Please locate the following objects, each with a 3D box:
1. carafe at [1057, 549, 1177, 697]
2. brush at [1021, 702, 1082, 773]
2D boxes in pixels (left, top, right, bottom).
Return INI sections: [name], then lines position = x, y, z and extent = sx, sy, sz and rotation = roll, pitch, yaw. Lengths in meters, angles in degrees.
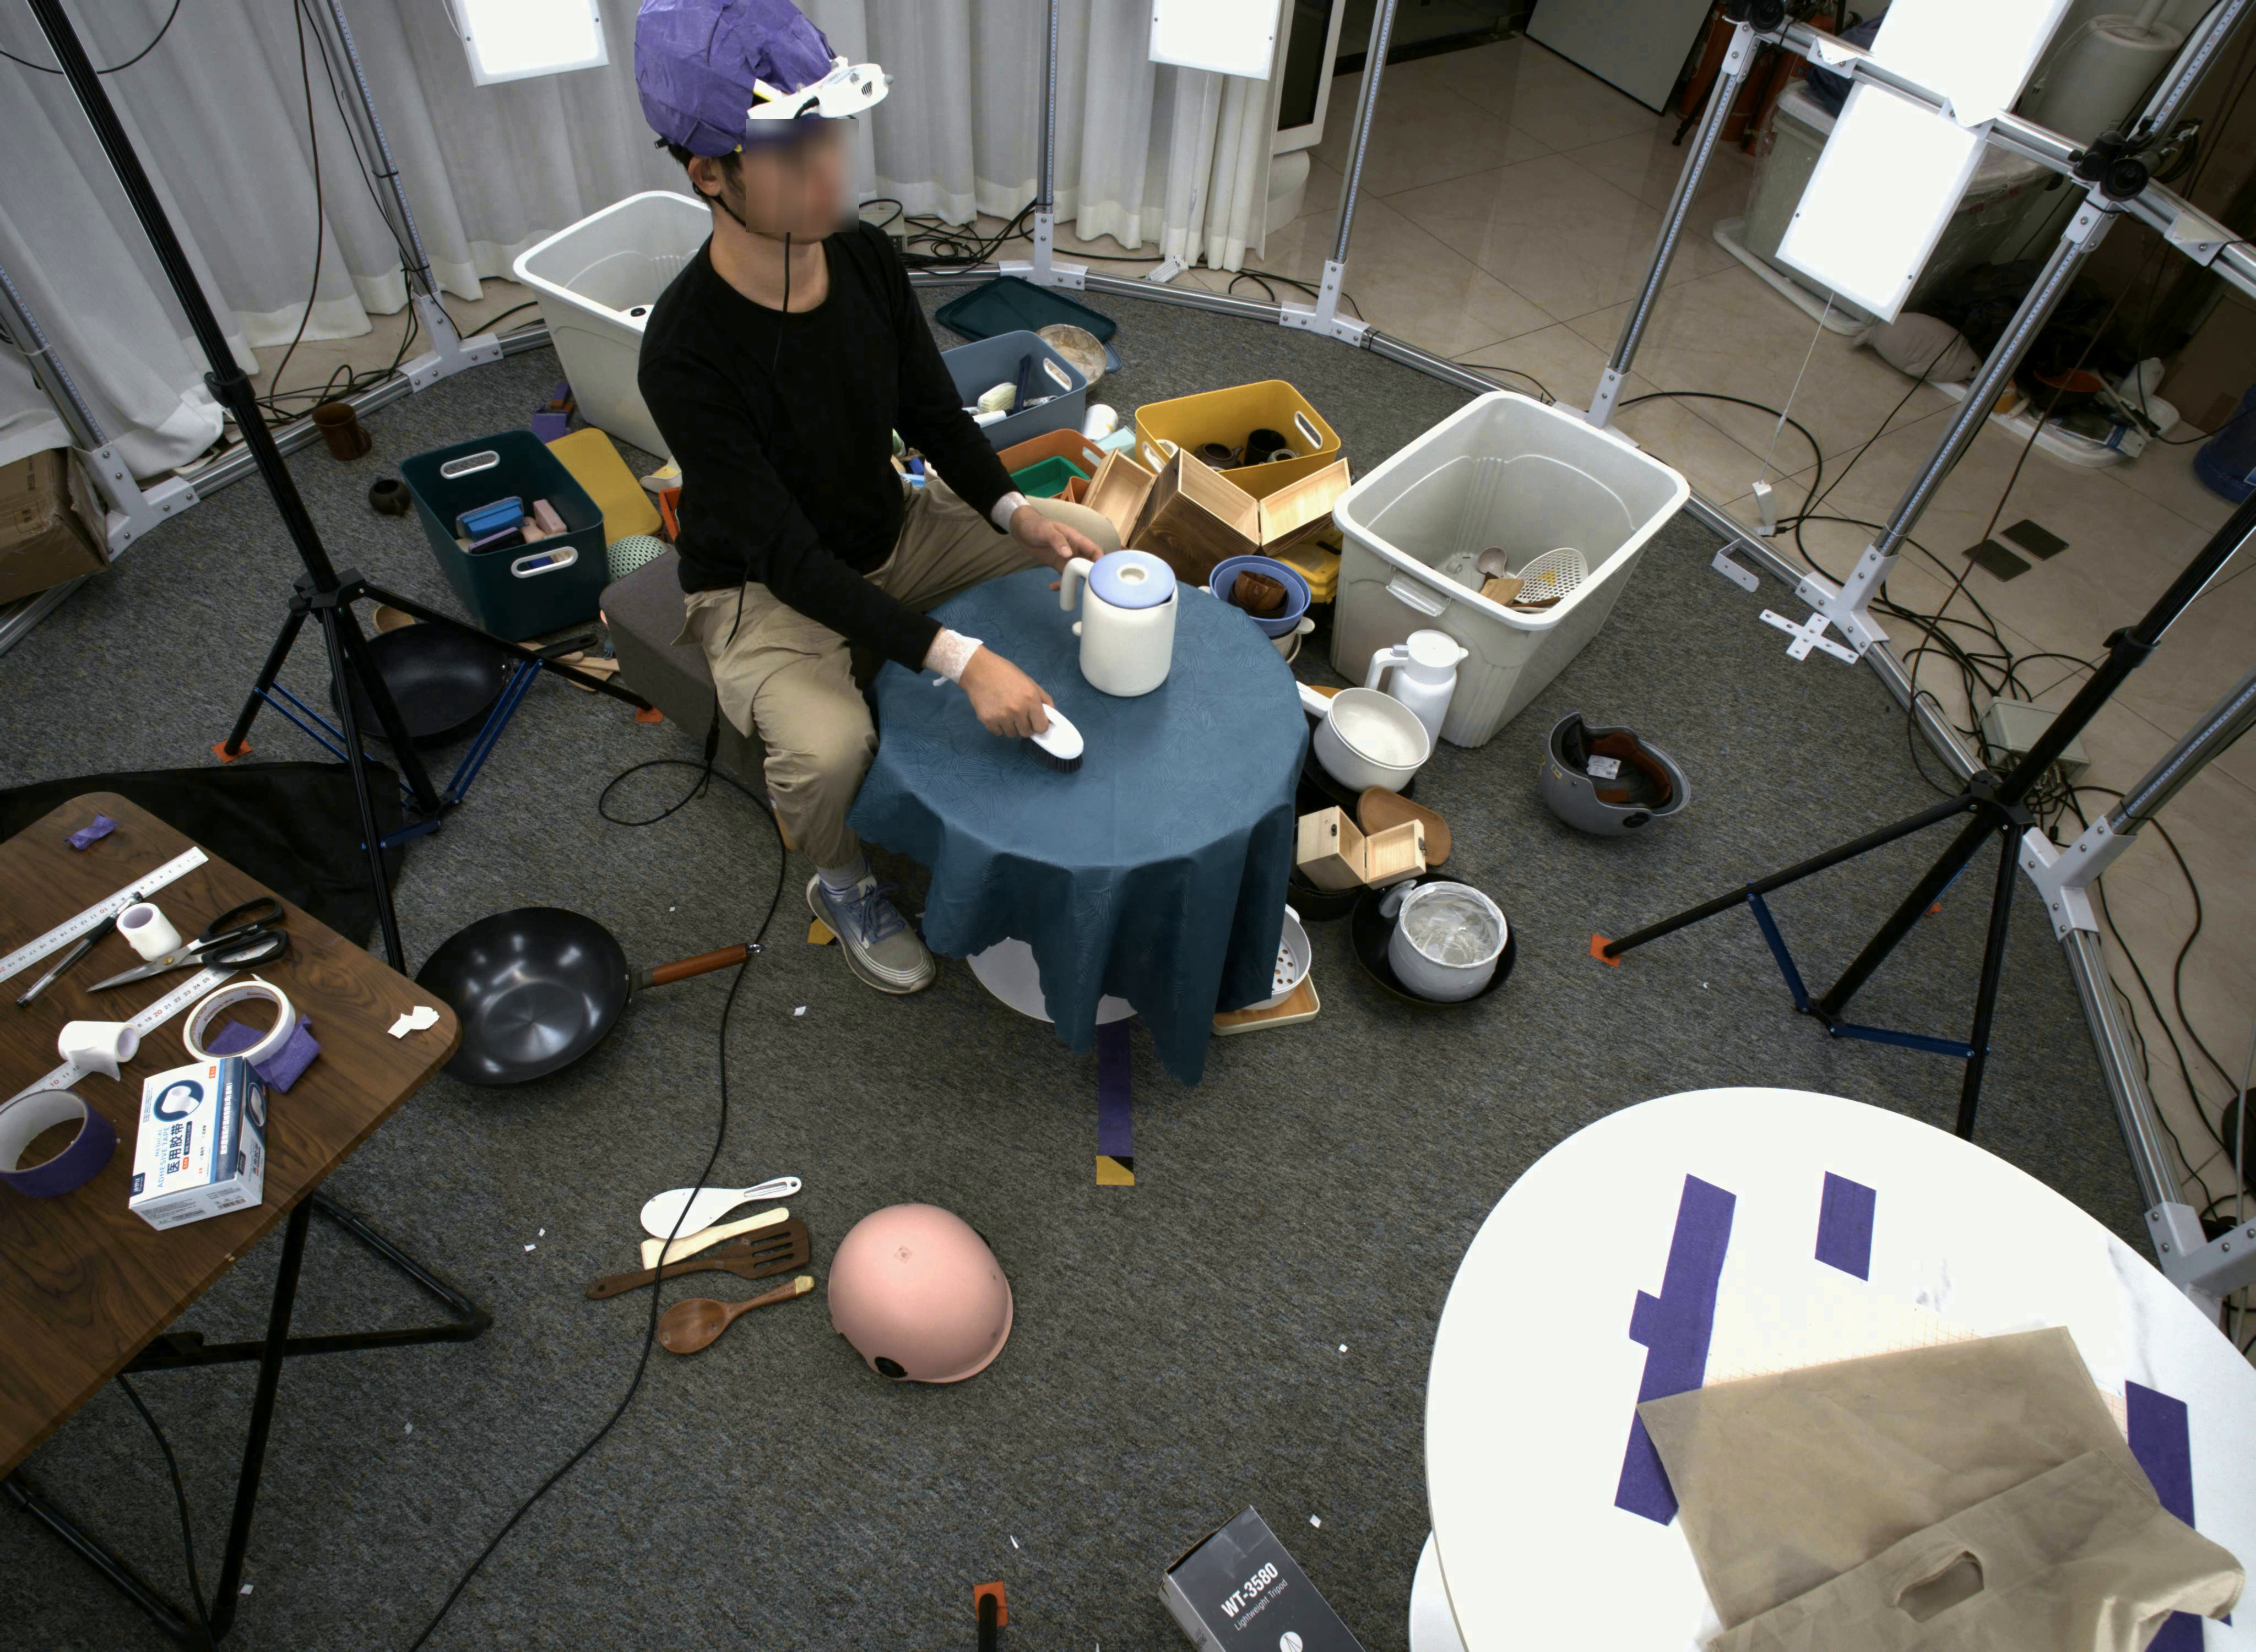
[carafe]
position = -0.020, -0.296, 1.815
extent = 0.193, 0.178, 0.134
rotation = 29, 53, 22
[brush]
position = -0.104, -0.127, 1.725
extent = 0.051, 0.071, 0.101
rotation = -35, 60, -29
